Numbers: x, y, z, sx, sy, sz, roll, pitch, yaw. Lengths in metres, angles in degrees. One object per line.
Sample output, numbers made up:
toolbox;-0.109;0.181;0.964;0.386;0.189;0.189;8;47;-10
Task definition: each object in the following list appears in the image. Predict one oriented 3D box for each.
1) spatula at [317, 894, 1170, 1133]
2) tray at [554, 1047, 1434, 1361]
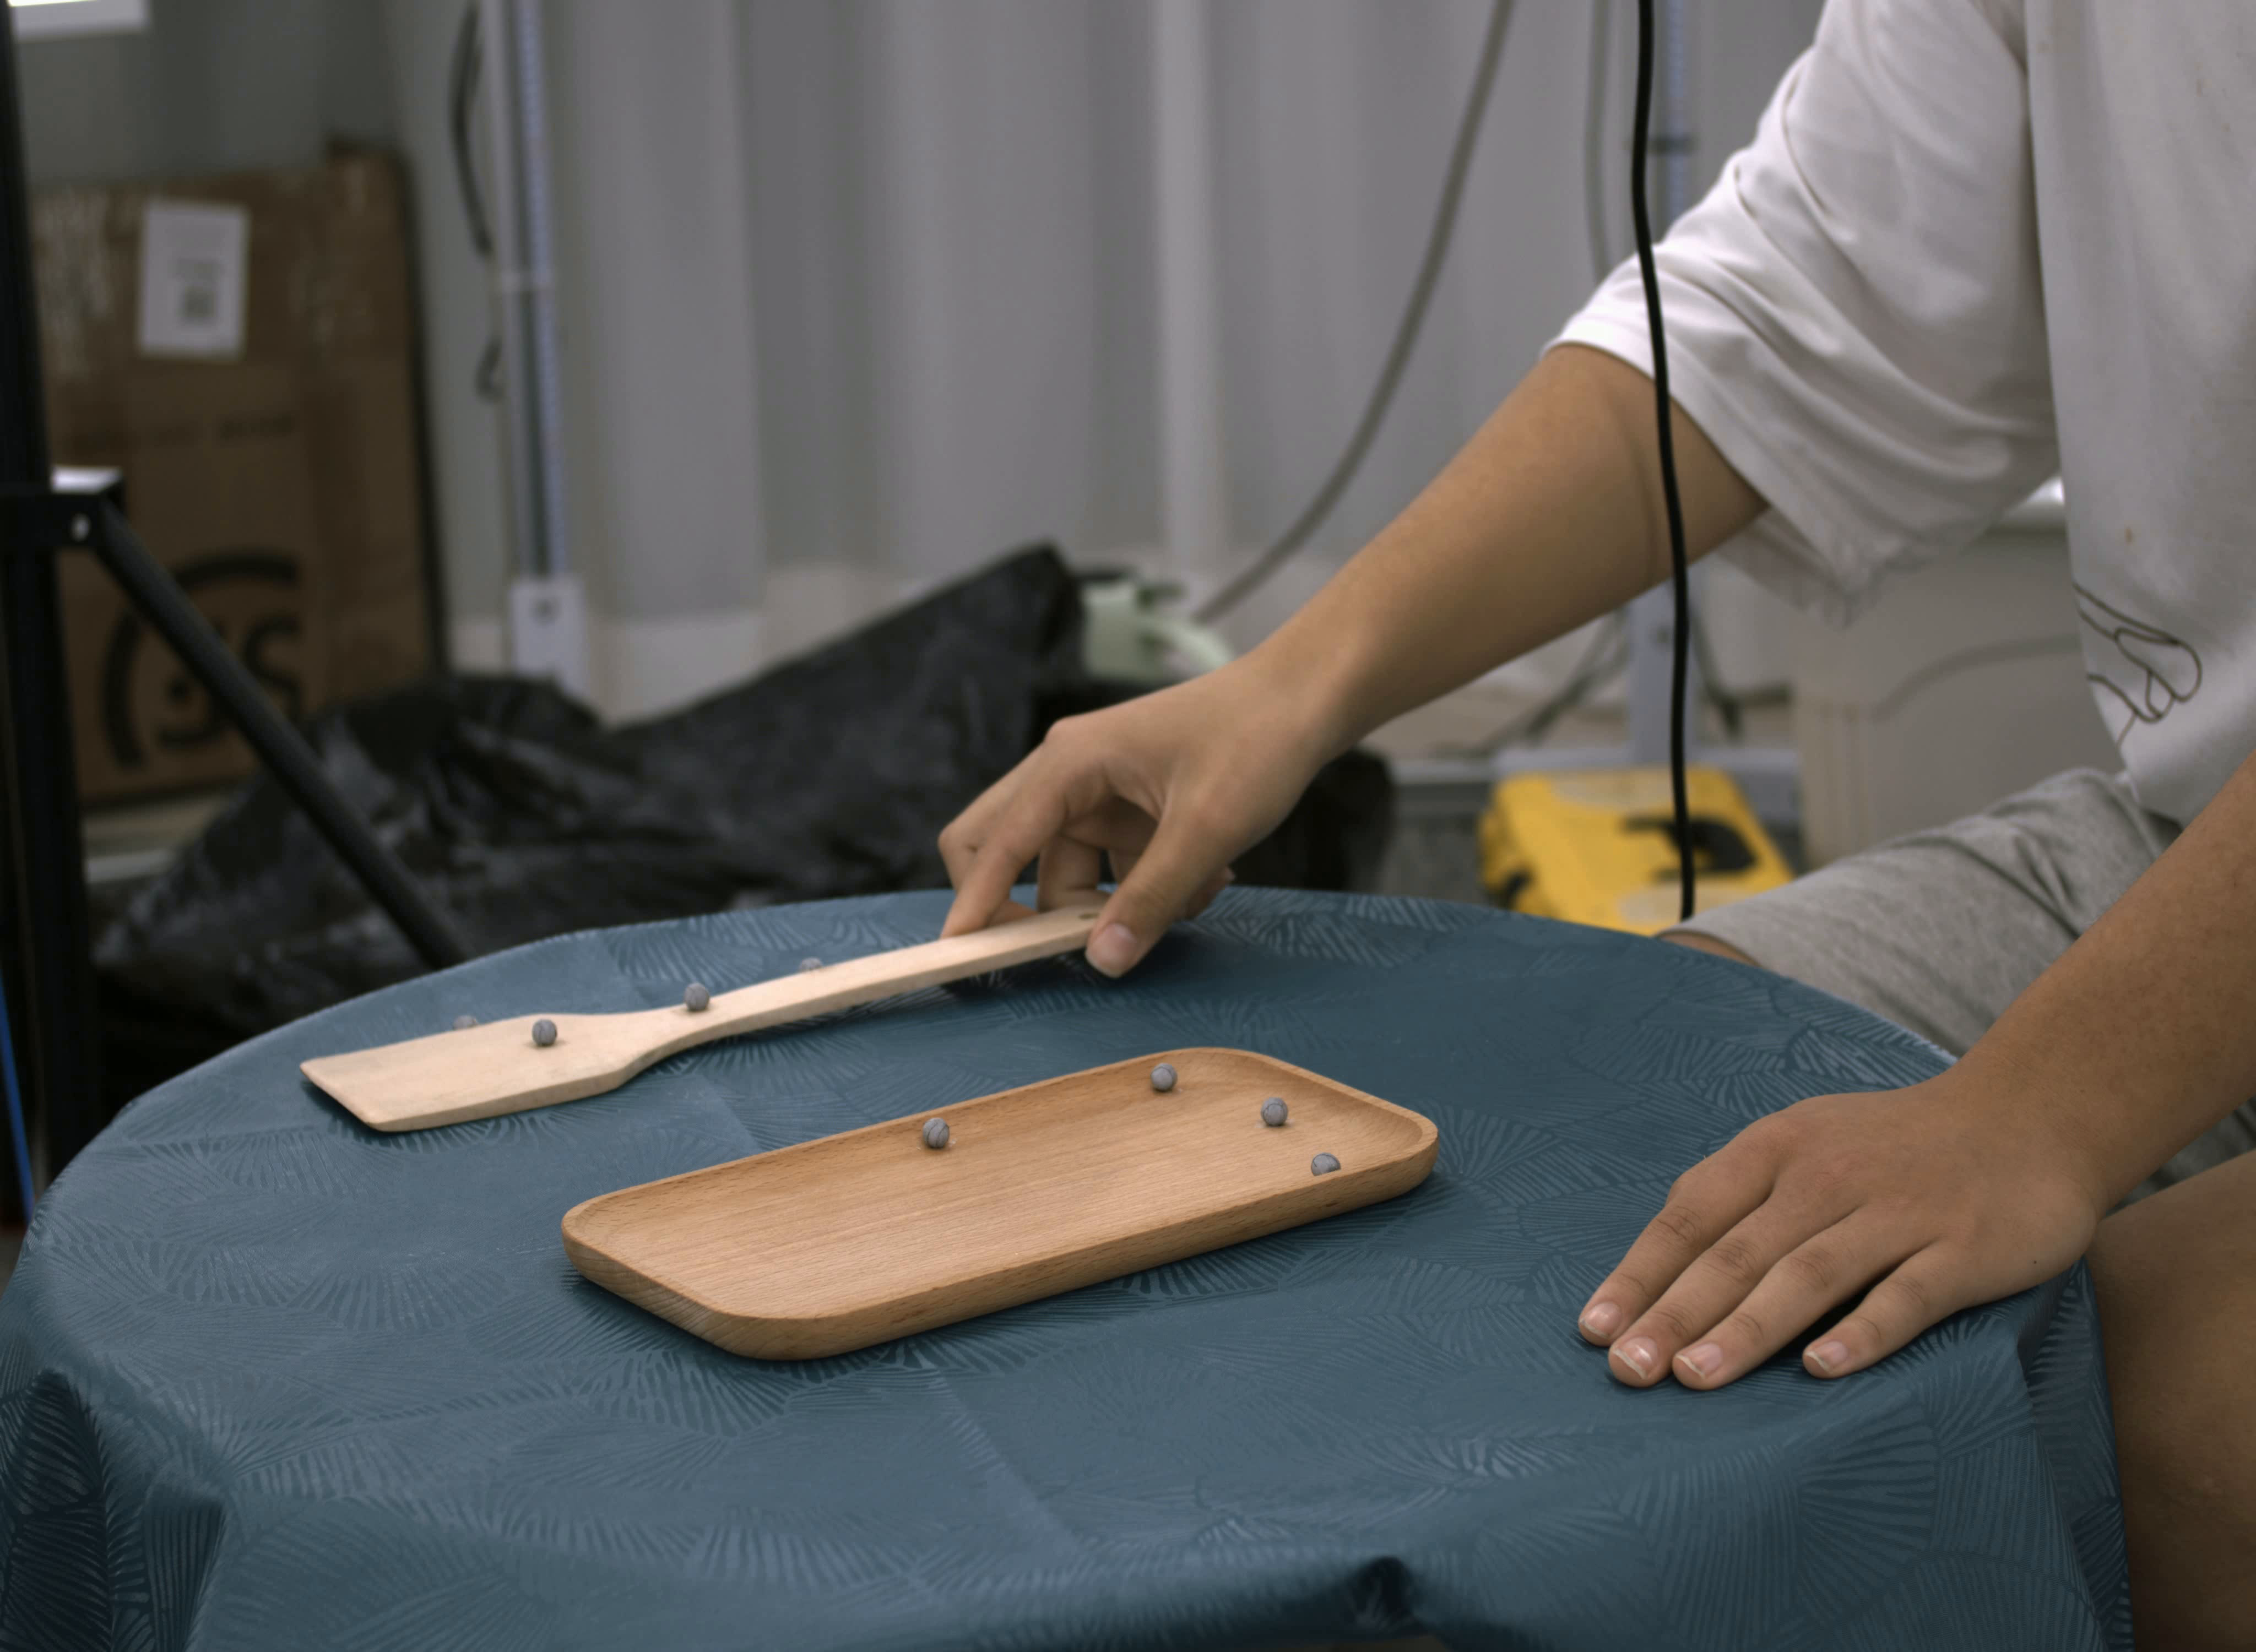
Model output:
spatula;-0.116;0.057;1.724;0.287;0.010;0.074;-13;19;-24
tray;-0.036;0.107;1.538;0.245;0.023;0.133;-13;17;-32
